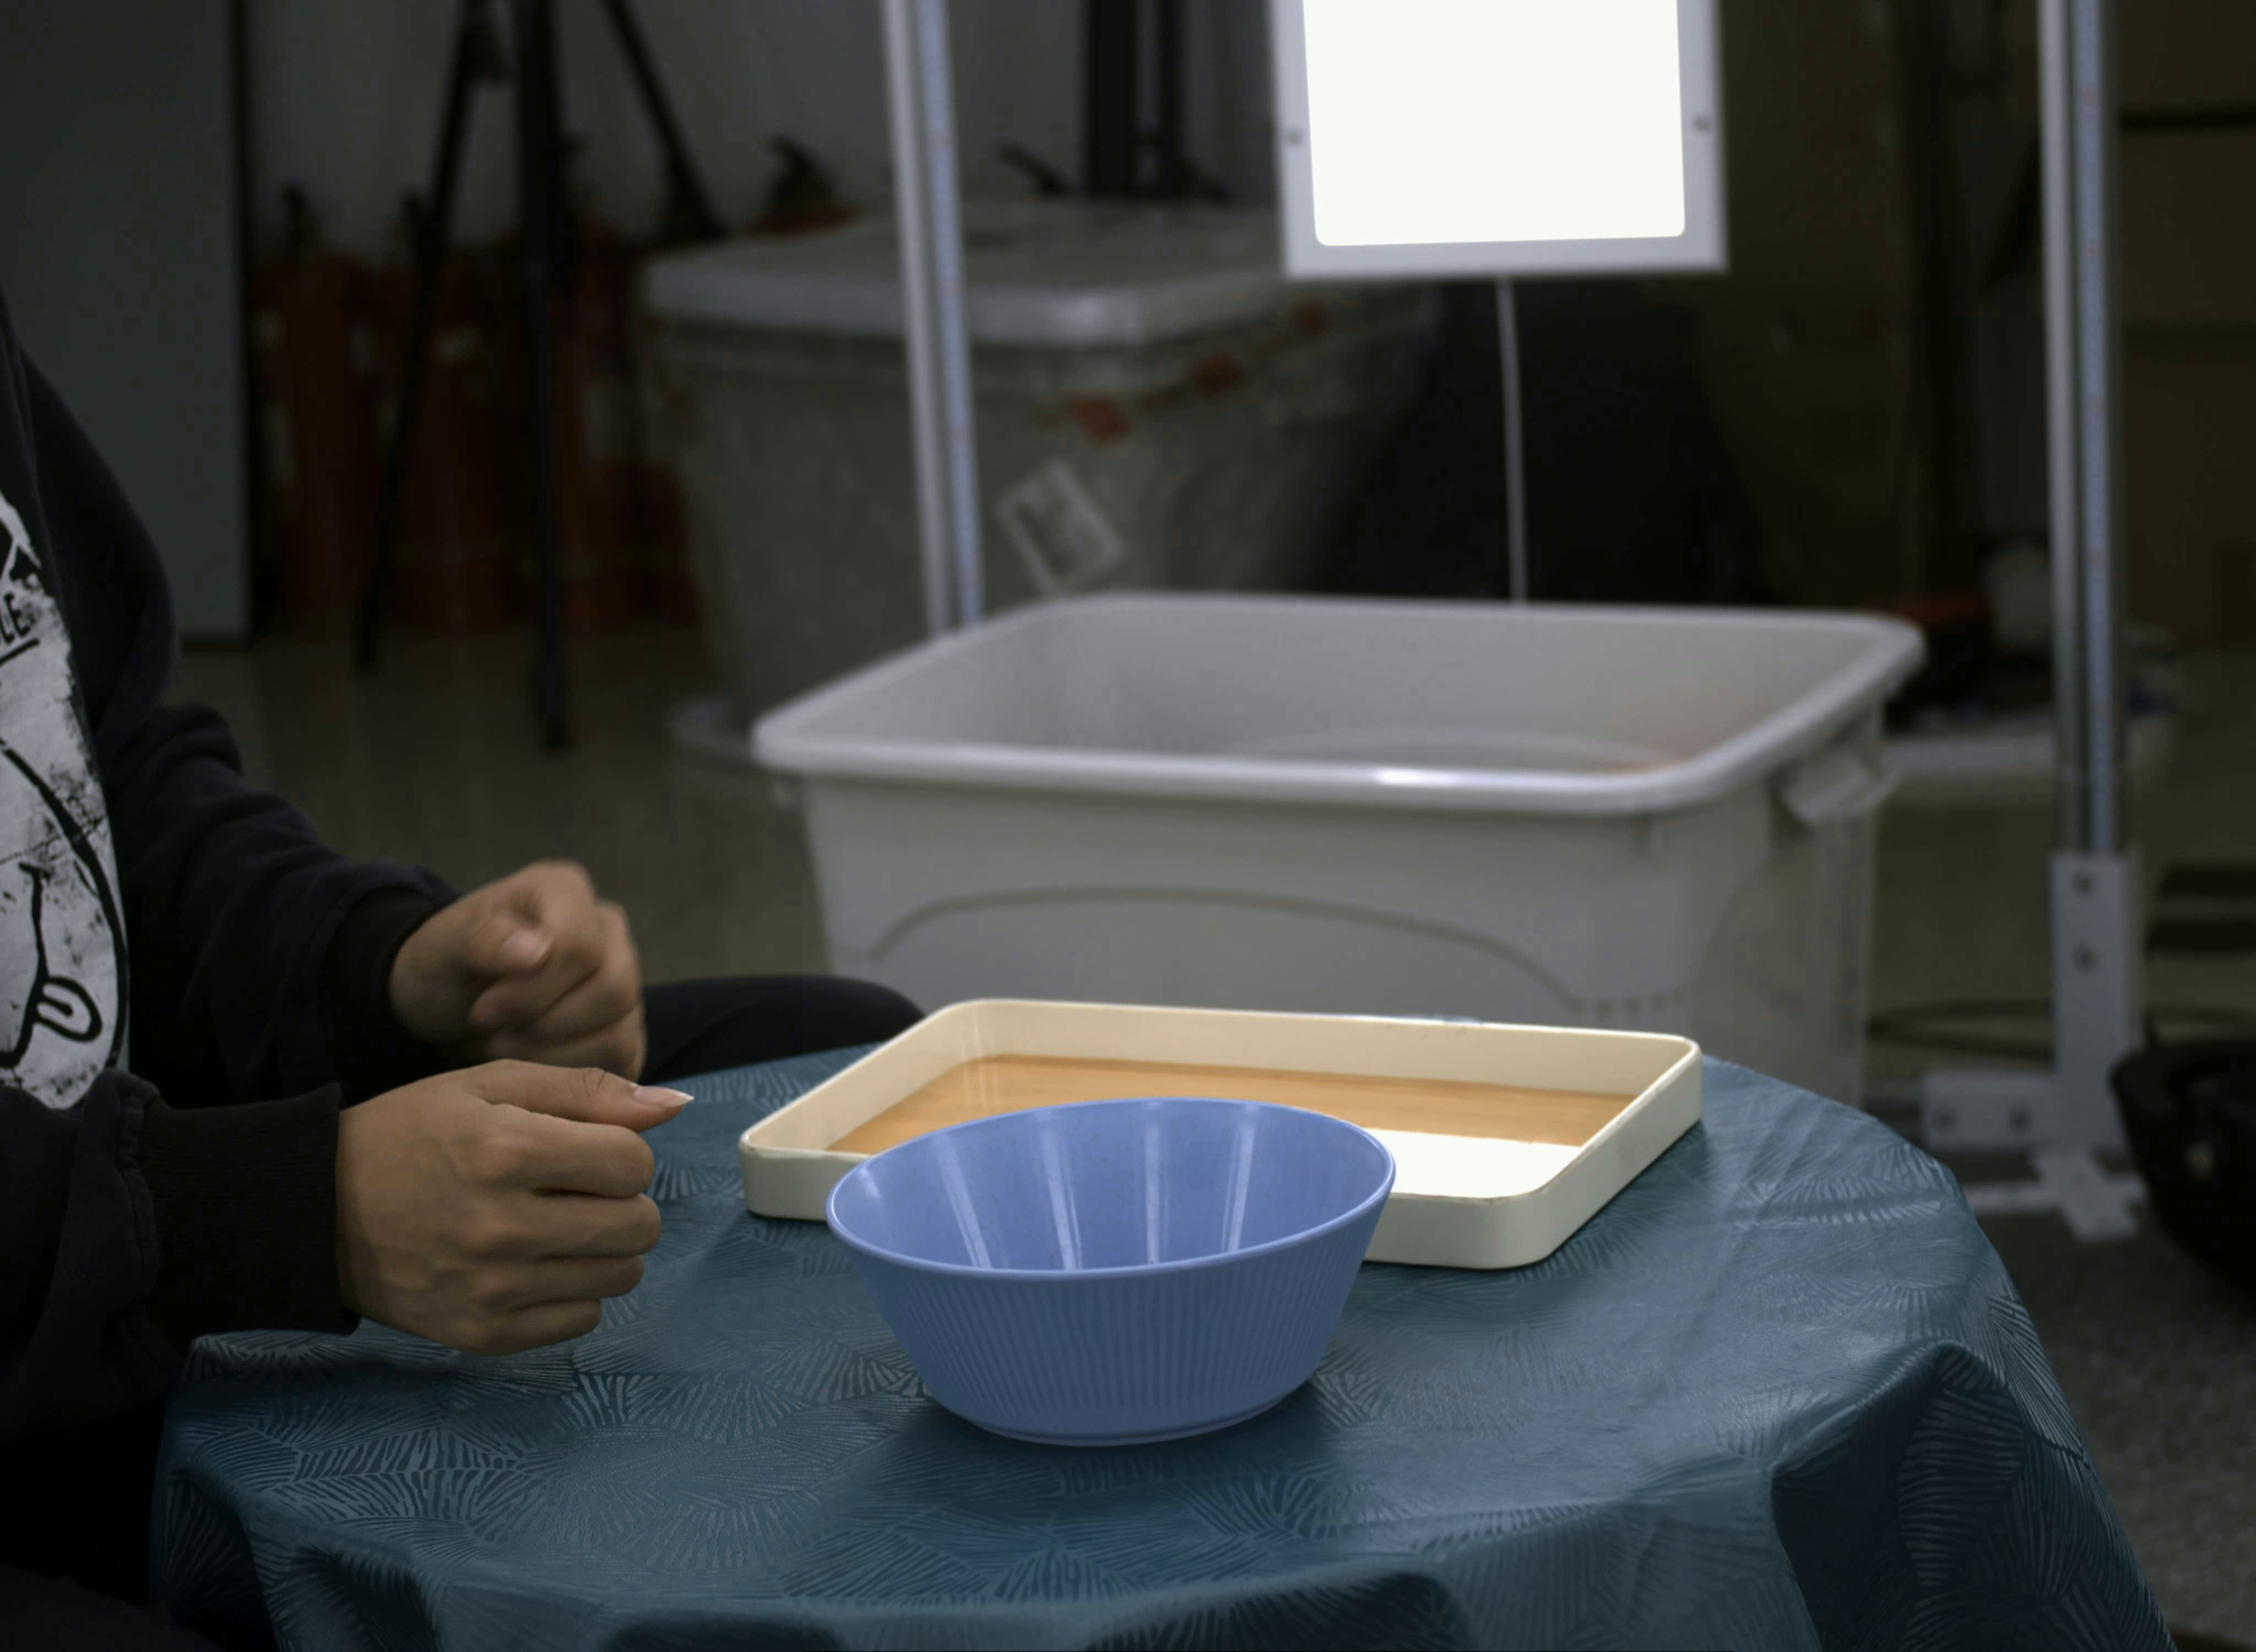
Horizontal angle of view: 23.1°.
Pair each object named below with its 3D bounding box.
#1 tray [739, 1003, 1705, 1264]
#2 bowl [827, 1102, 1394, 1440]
[{"bbox_3d":[0.034,0.105,1.918,0.305,0.027,0.187,2,15,27],"label":"tray"},{"bbox_3d":[-0.004,0.139,1.695,0.175,0.070,0.176,-4,13,0],"label":"bowl"}]
